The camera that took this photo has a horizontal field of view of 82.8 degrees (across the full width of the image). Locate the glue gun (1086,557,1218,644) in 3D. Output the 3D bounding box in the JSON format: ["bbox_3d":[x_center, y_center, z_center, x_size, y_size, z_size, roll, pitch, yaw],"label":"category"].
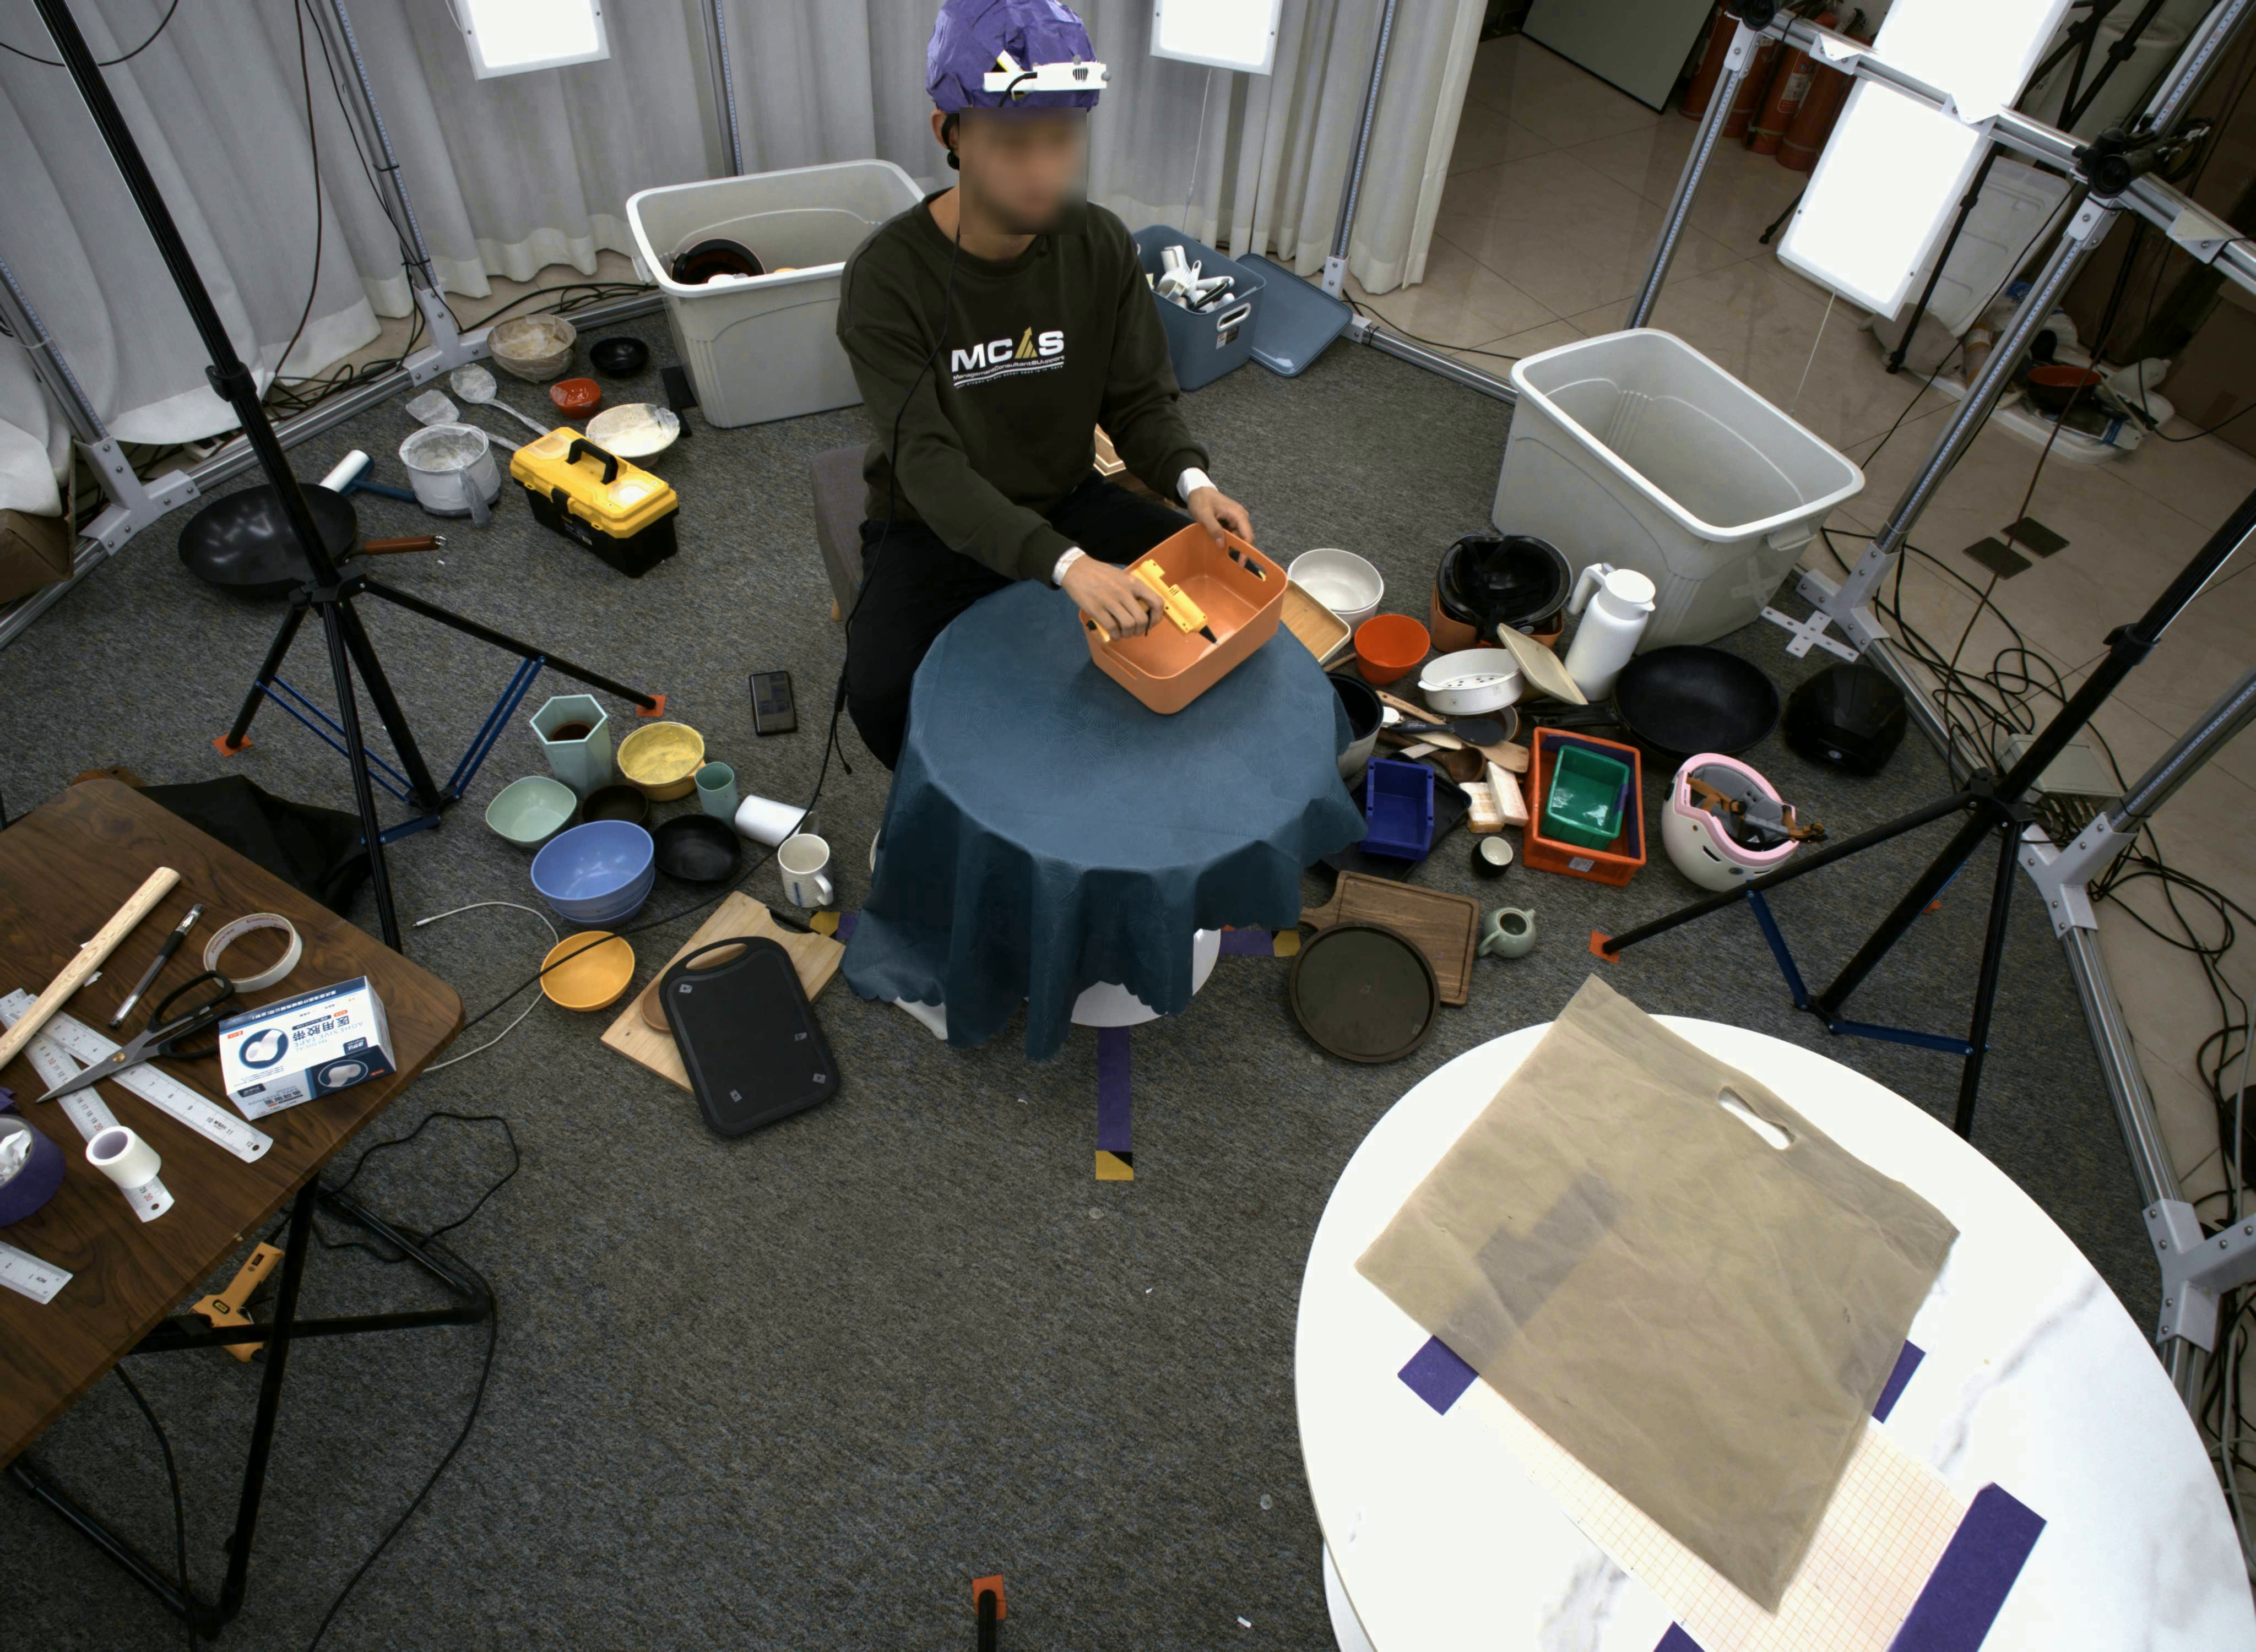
[{"bbox_3d":[0.041,-0.270,1.735,0.151,0.031,0.134,41,77,3],"label":"glue gun"}]

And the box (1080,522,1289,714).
[{"bbox_3d":[0.082,-0.295,1.836,0.275,0.100,0.202,-40,60,-20],"label":"box"}]
